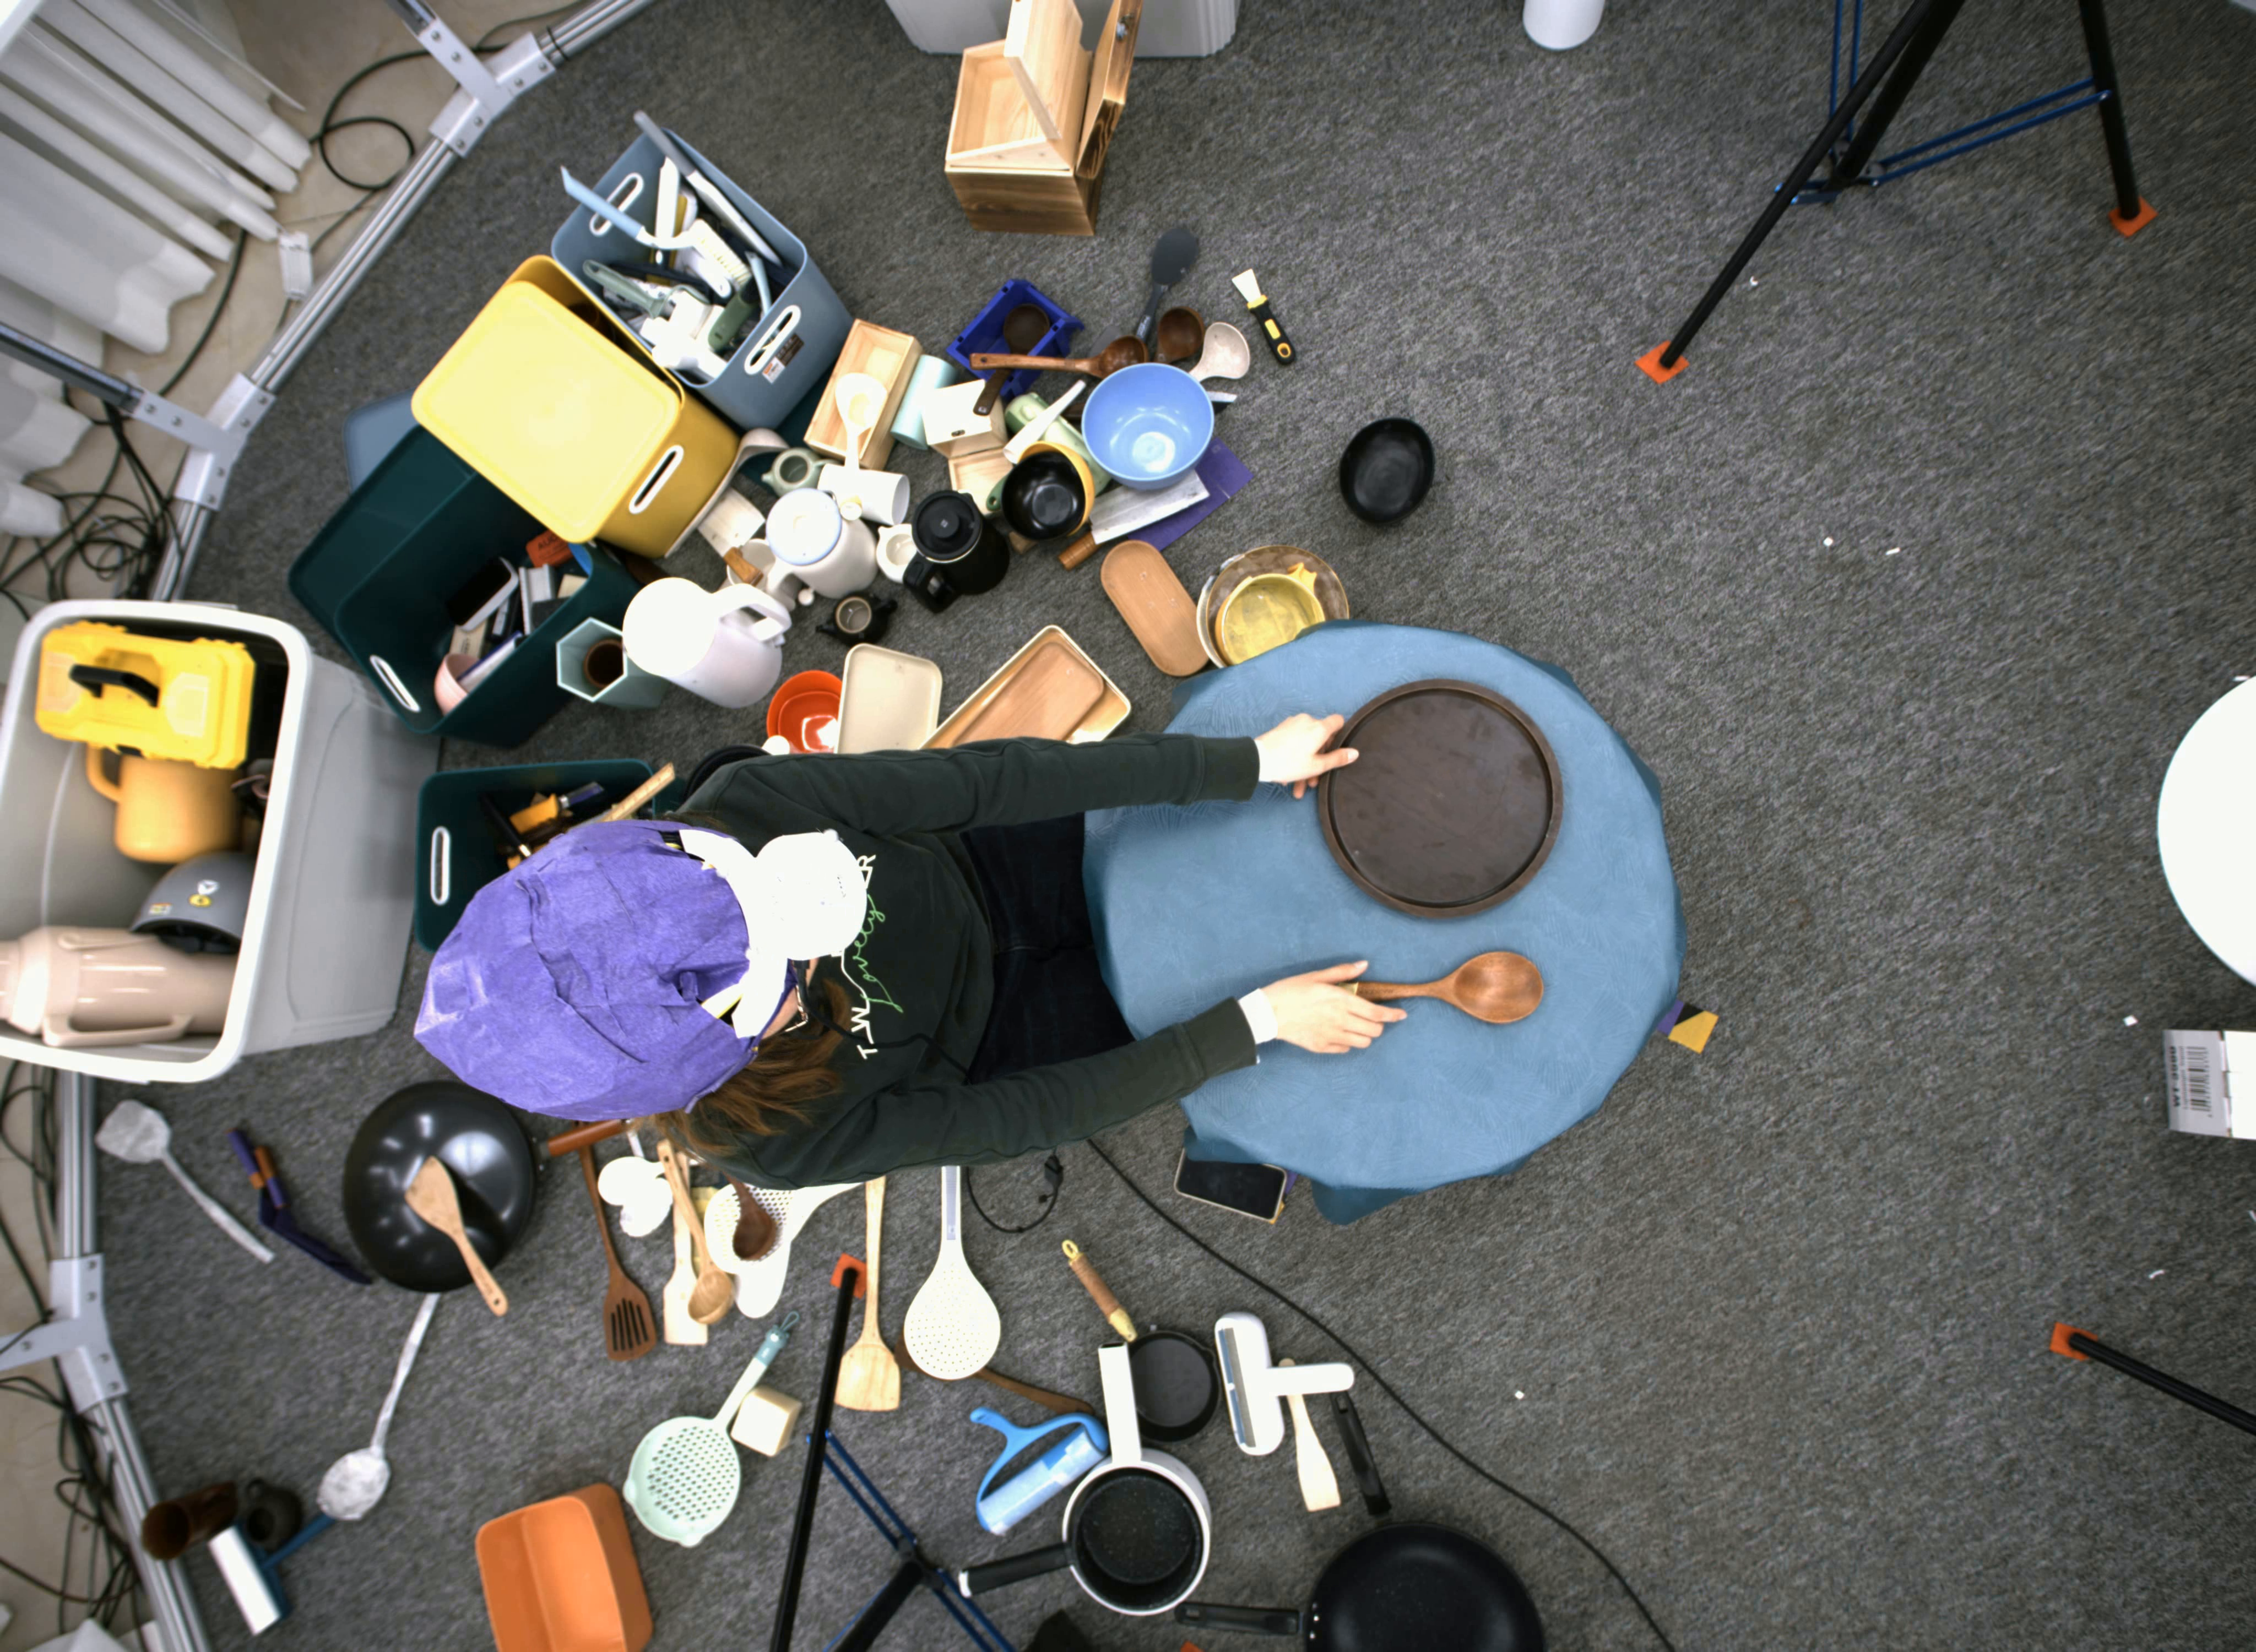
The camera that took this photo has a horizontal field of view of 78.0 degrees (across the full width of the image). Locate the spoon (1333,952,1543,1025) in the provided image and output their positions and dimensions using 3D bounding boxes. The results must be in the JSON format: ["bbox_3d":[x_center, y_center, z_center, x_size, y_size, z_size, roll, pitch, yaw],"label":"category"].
[{"bbox_3d":[0.322,0.171,1.440,0.217,0.017,0.075,-4,85,10],"label":"spoon"}]

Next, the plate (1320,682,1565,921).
[{"bbox_3d":[0.329,-0.028,1.450,0.256,0.029,0.253,-1,85,9],"label":"plate"}]
